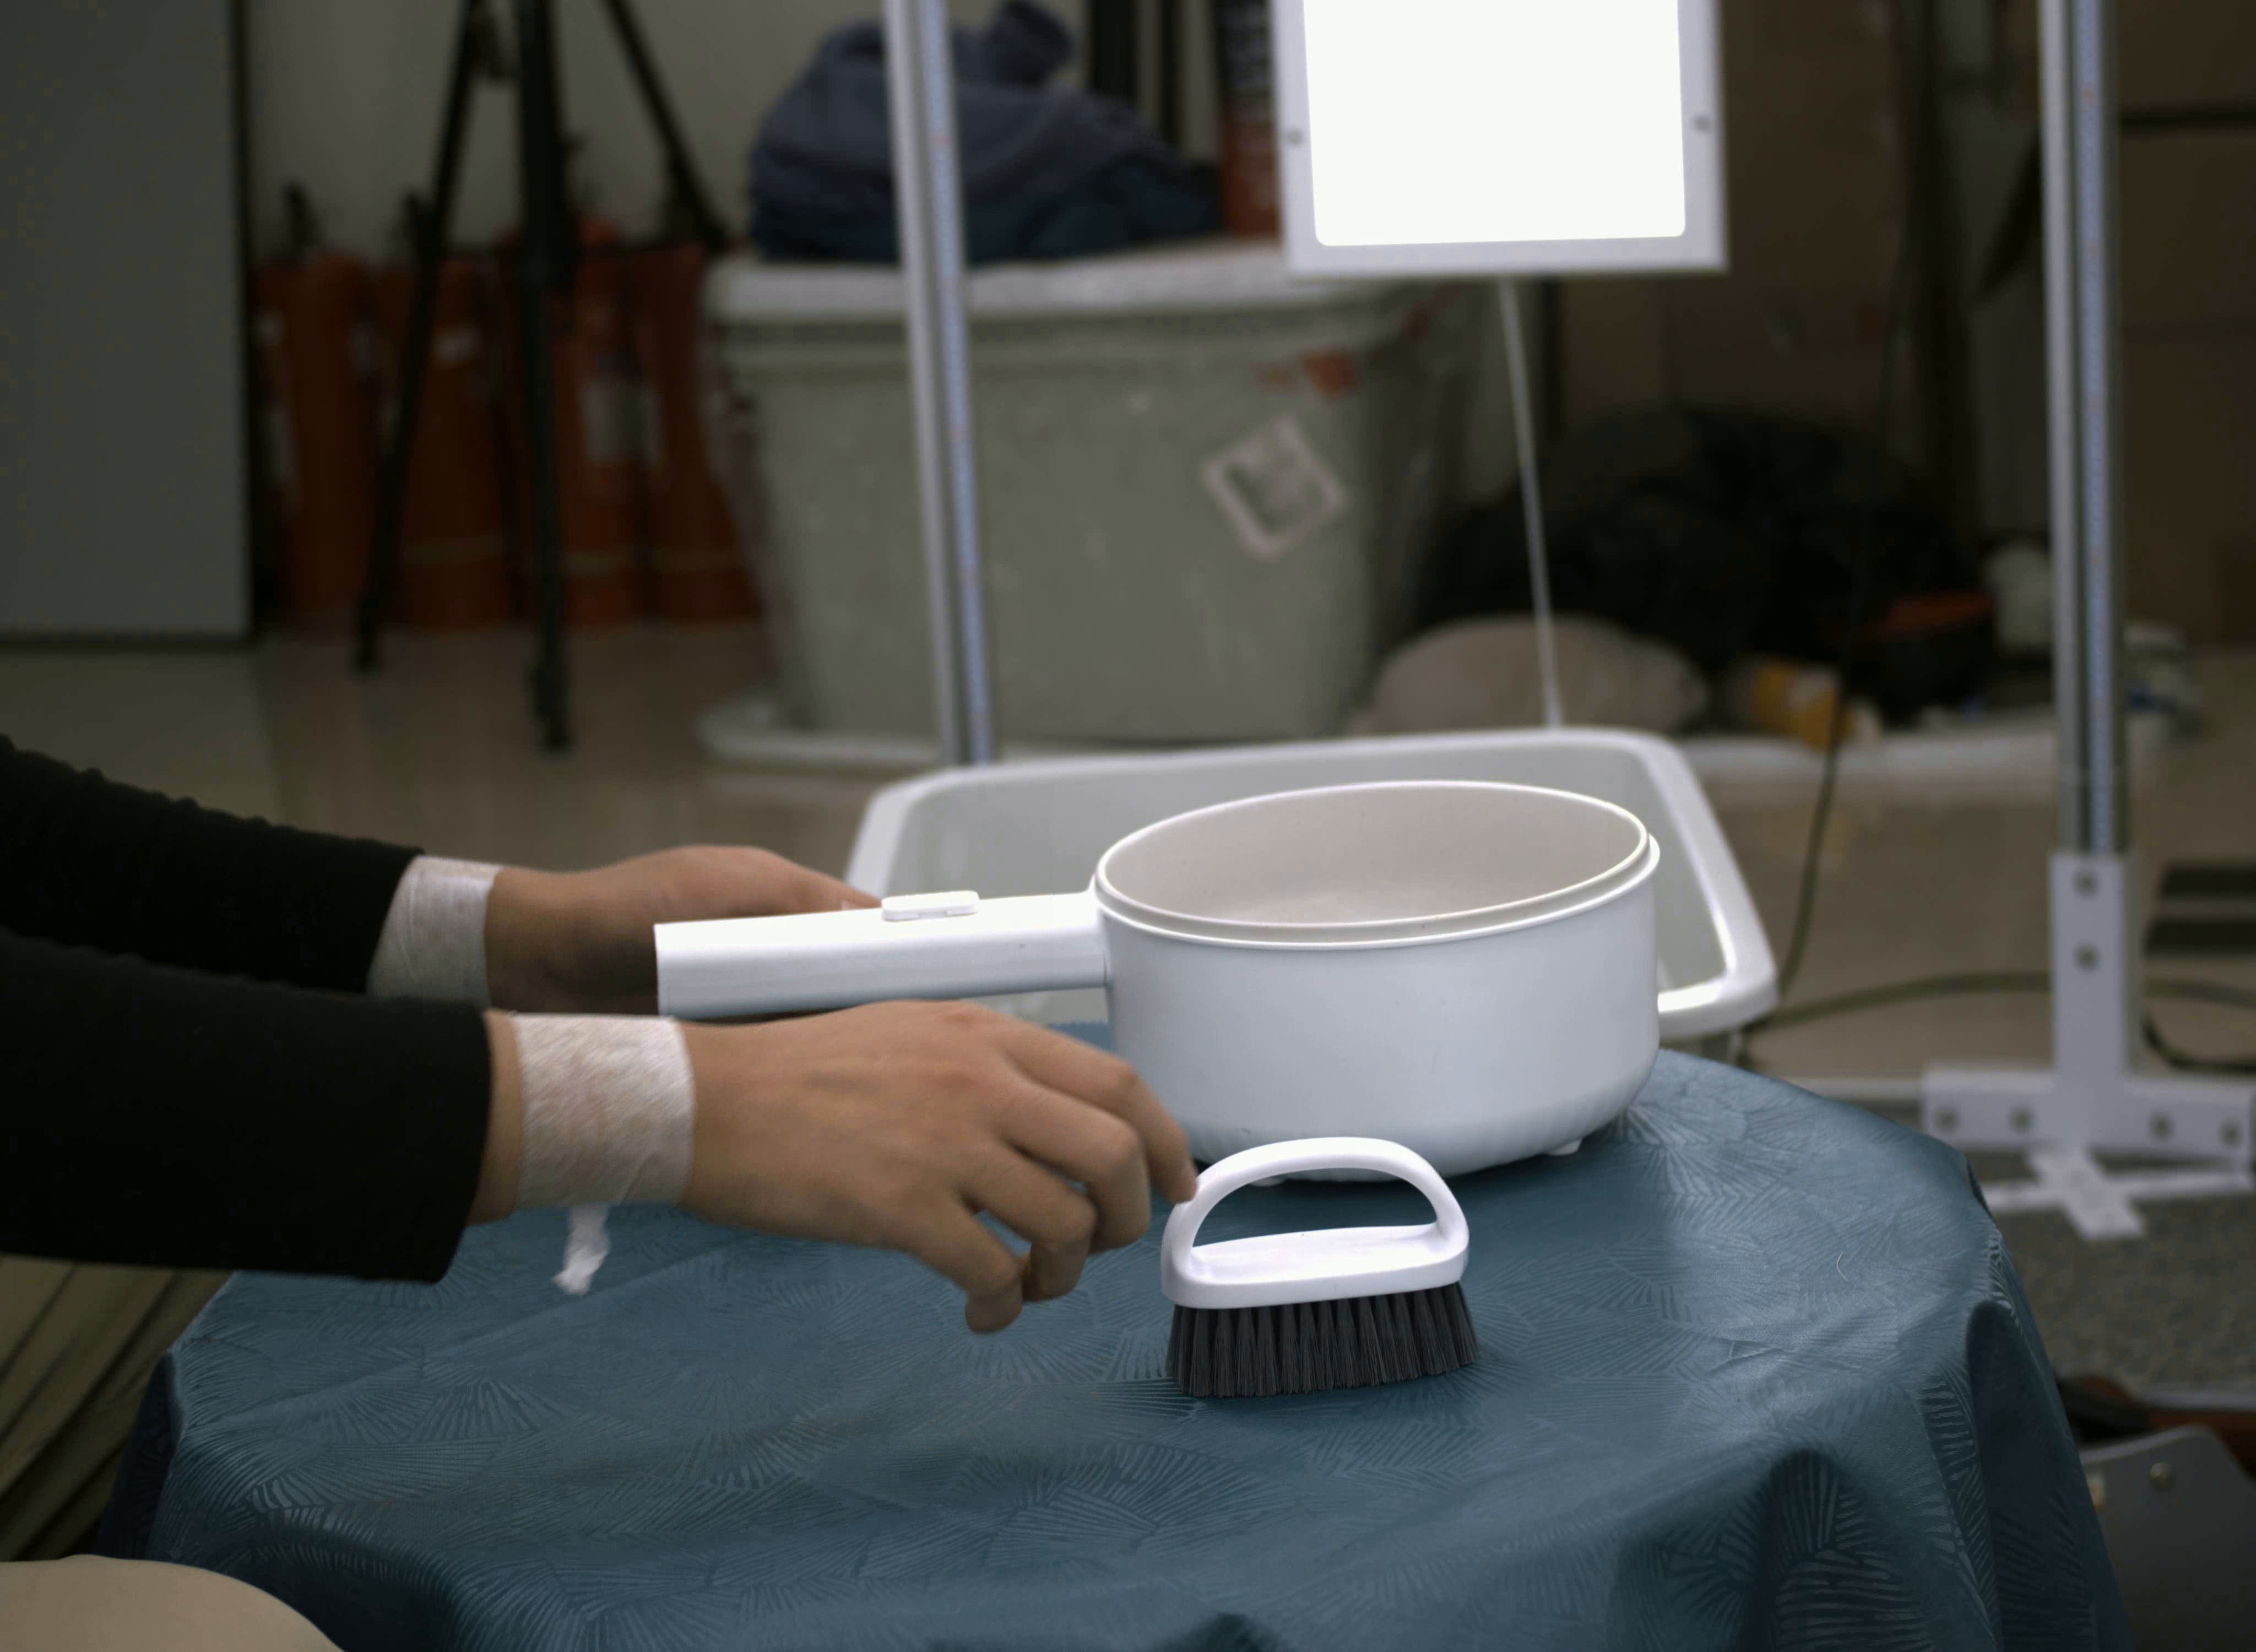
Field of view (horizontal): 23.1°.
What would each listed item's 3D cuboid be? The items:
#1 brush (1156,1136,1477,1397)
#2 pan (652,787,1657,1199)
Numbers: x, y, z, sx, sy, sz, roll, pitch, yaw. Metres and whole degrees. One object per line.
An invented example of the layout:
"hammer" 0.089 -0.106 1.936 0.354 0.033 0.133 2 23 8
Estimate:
"brush" 0.057 0.132 1.700 0.099 0.073 0.050 -5 14 -2
"pan" 0.013 0.068 1.934 0.353 0.102 0.201 -6 16 -3
